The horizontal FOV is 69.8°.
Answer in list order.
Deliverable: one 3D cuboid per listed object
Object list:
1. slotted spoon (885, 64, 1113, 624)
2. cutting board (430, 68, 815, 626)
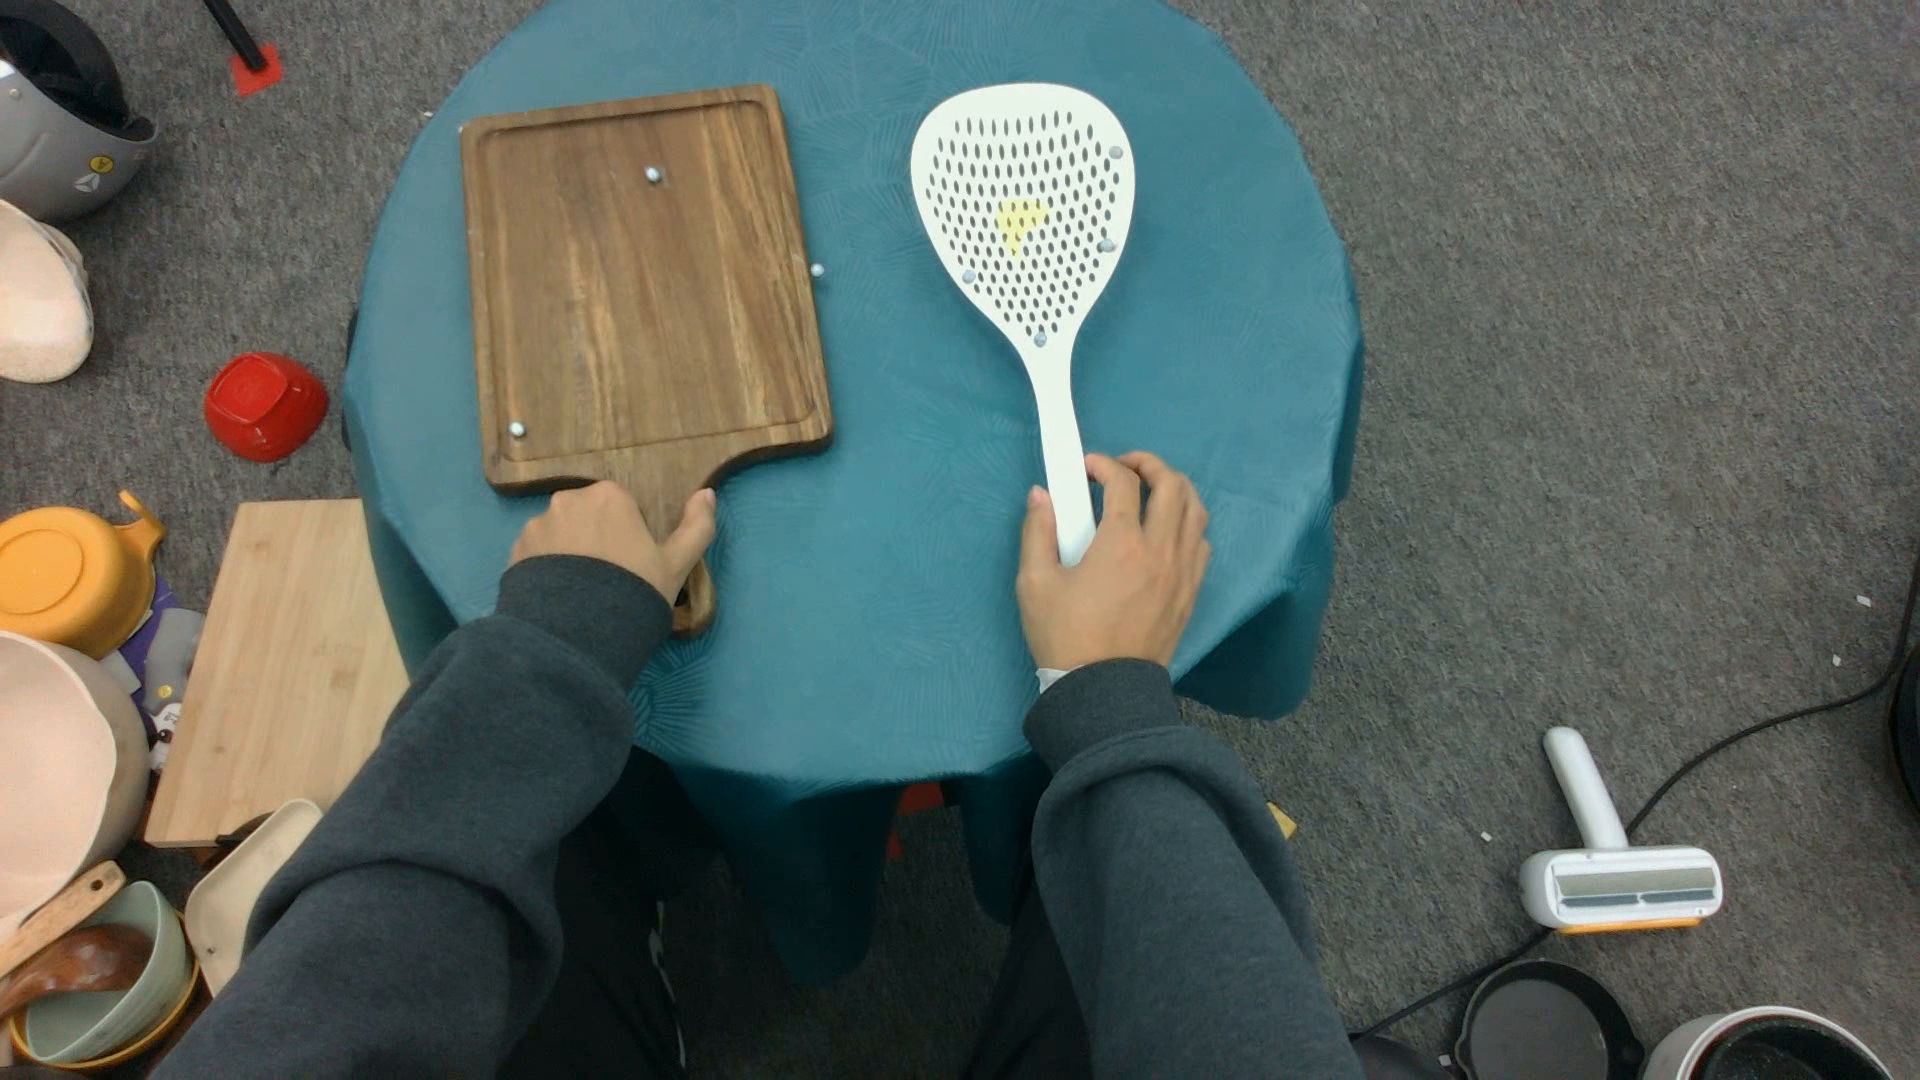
[{"bbox_3d":[0.039,-0.122,0.807,0.137,0.050,0.349,-7,70,-6],"label":"slotted spoon"},{"bbox_3d":[-0.194,-0.117,0.801,0.201,0.023,0.353,-10,70,-6],"label":"cutting board"}]
